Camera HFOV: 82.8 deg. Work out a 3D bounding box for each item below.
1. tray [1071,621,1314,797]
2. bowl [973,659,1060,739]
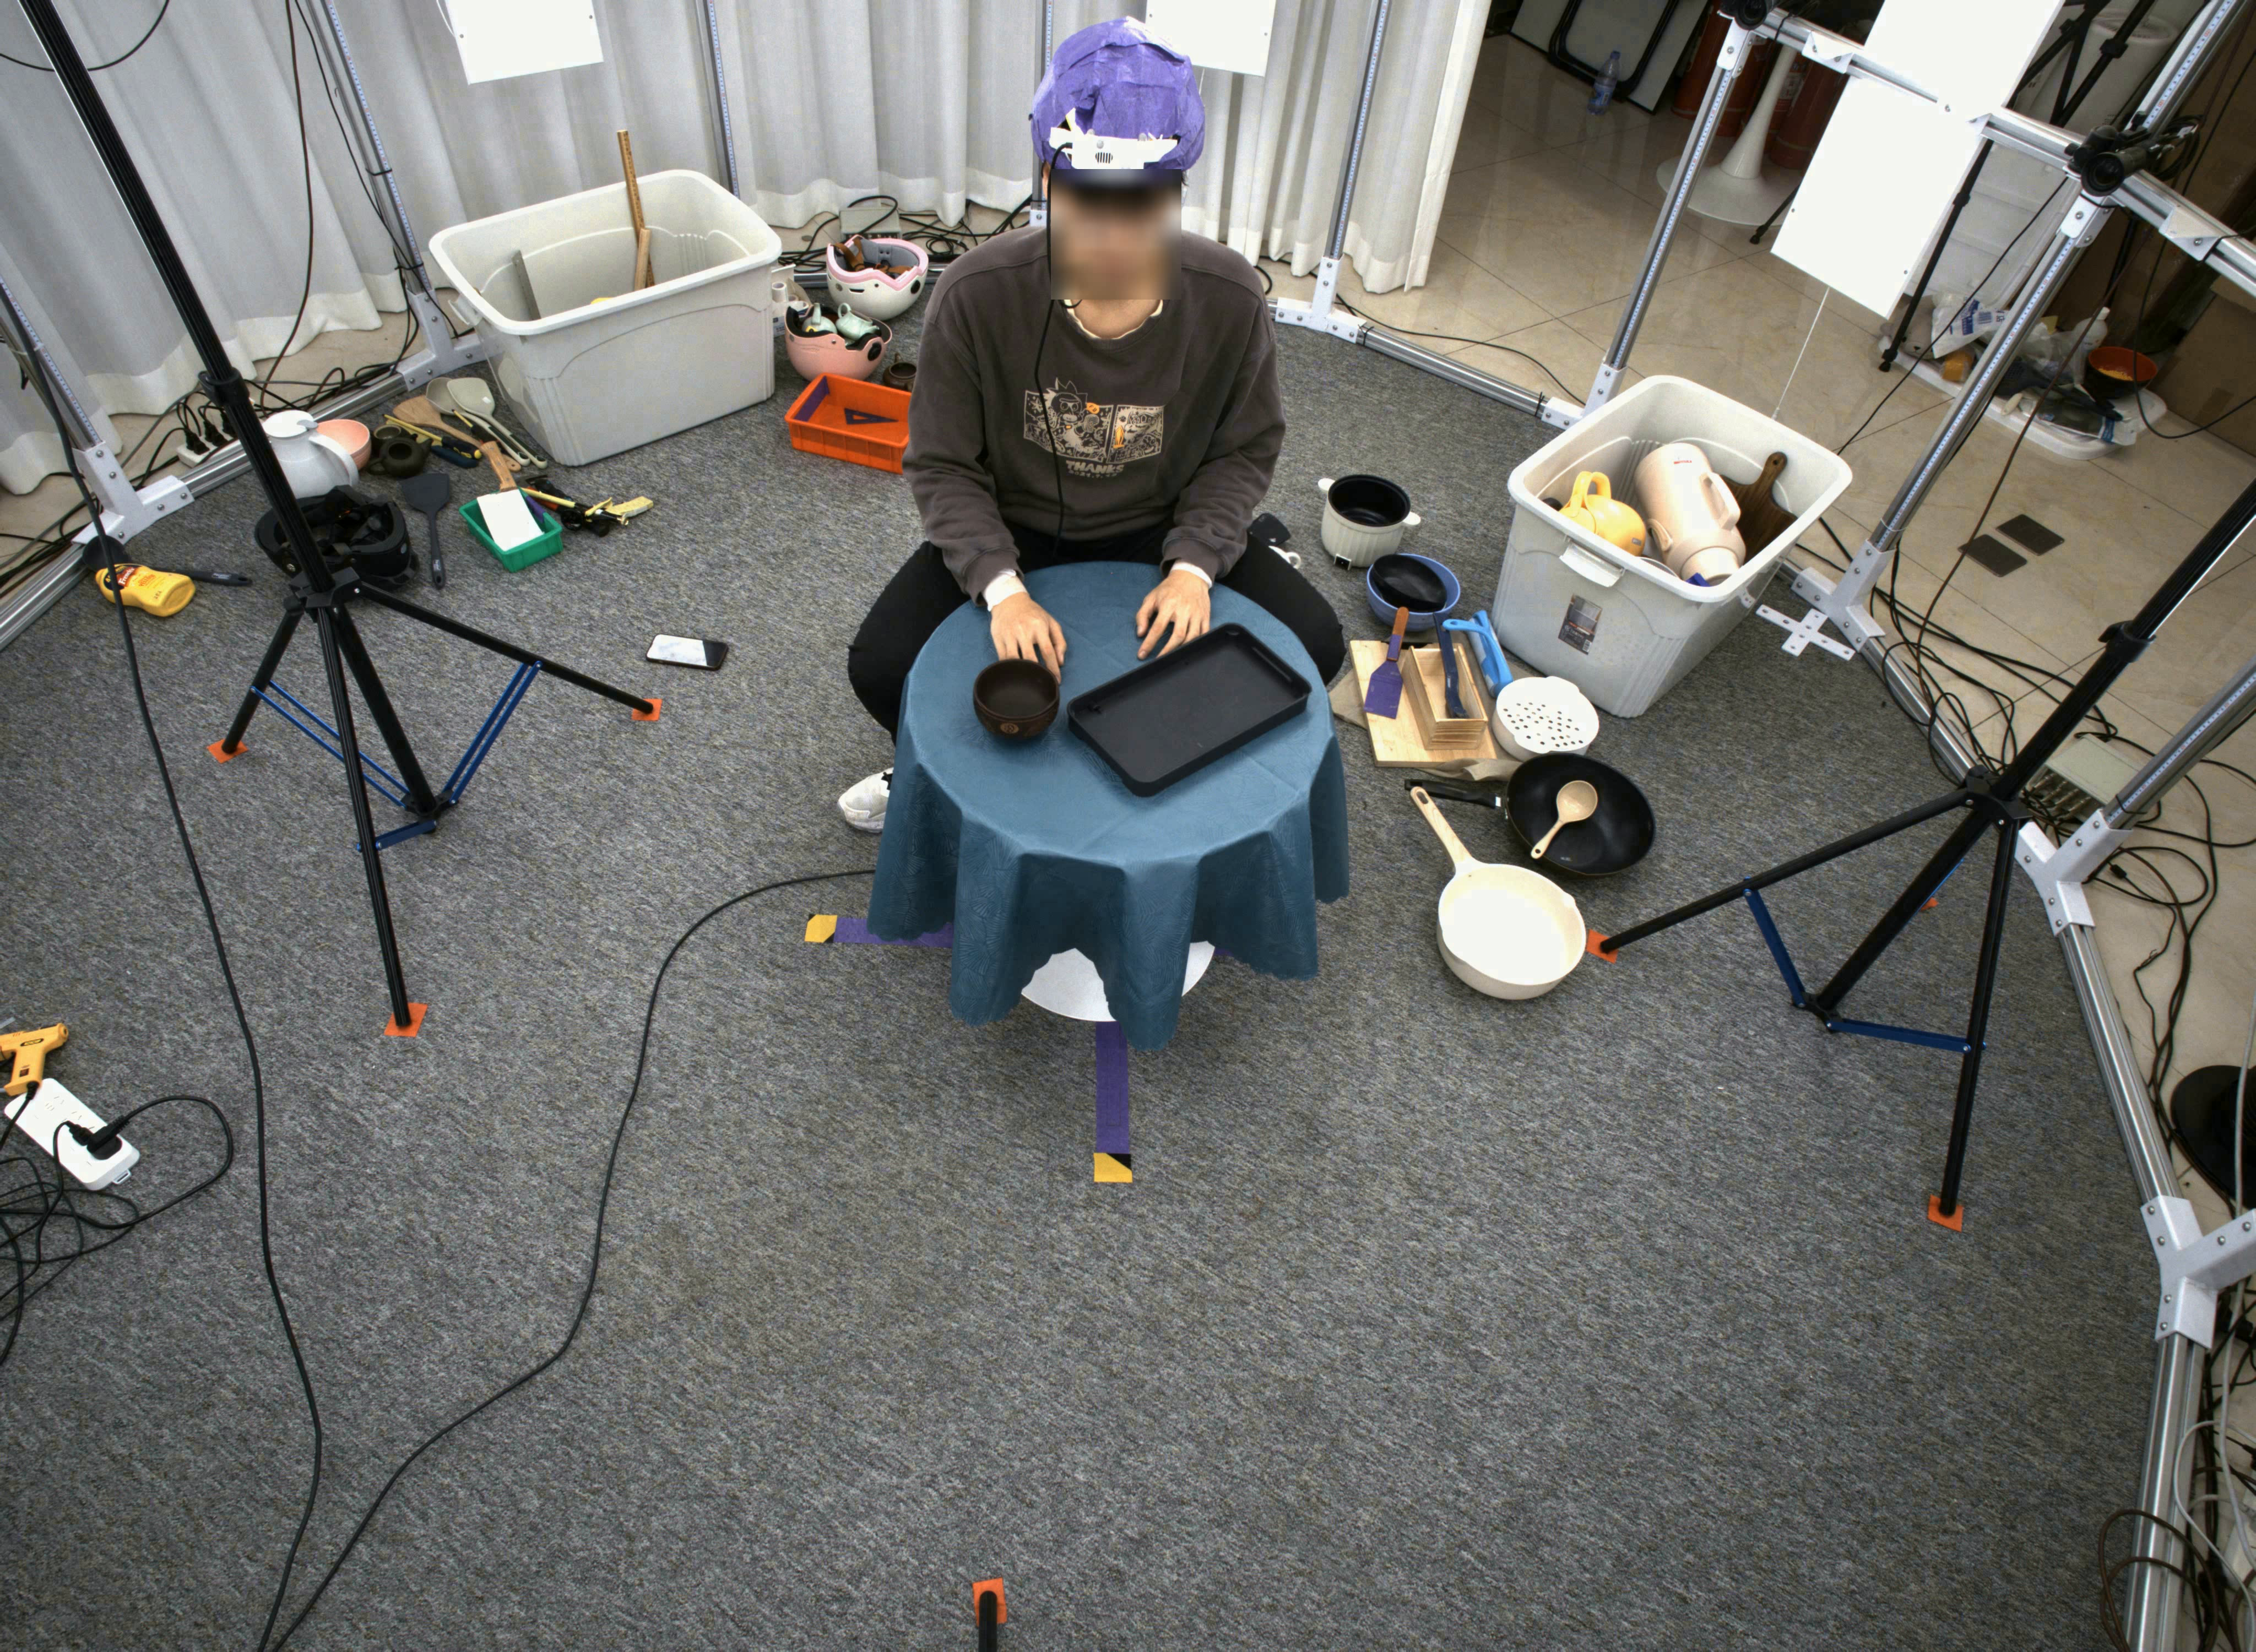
[{"bbox_3d":[0.092,-0.170,1.796,0.320,0.036,0.187,-31,57,-26],"label":"tray"},{"bbox_3d":[-0.152,-0.166,1.754,0.118,0.068,0.121,2,47,-2],"label":"bowl"}]
